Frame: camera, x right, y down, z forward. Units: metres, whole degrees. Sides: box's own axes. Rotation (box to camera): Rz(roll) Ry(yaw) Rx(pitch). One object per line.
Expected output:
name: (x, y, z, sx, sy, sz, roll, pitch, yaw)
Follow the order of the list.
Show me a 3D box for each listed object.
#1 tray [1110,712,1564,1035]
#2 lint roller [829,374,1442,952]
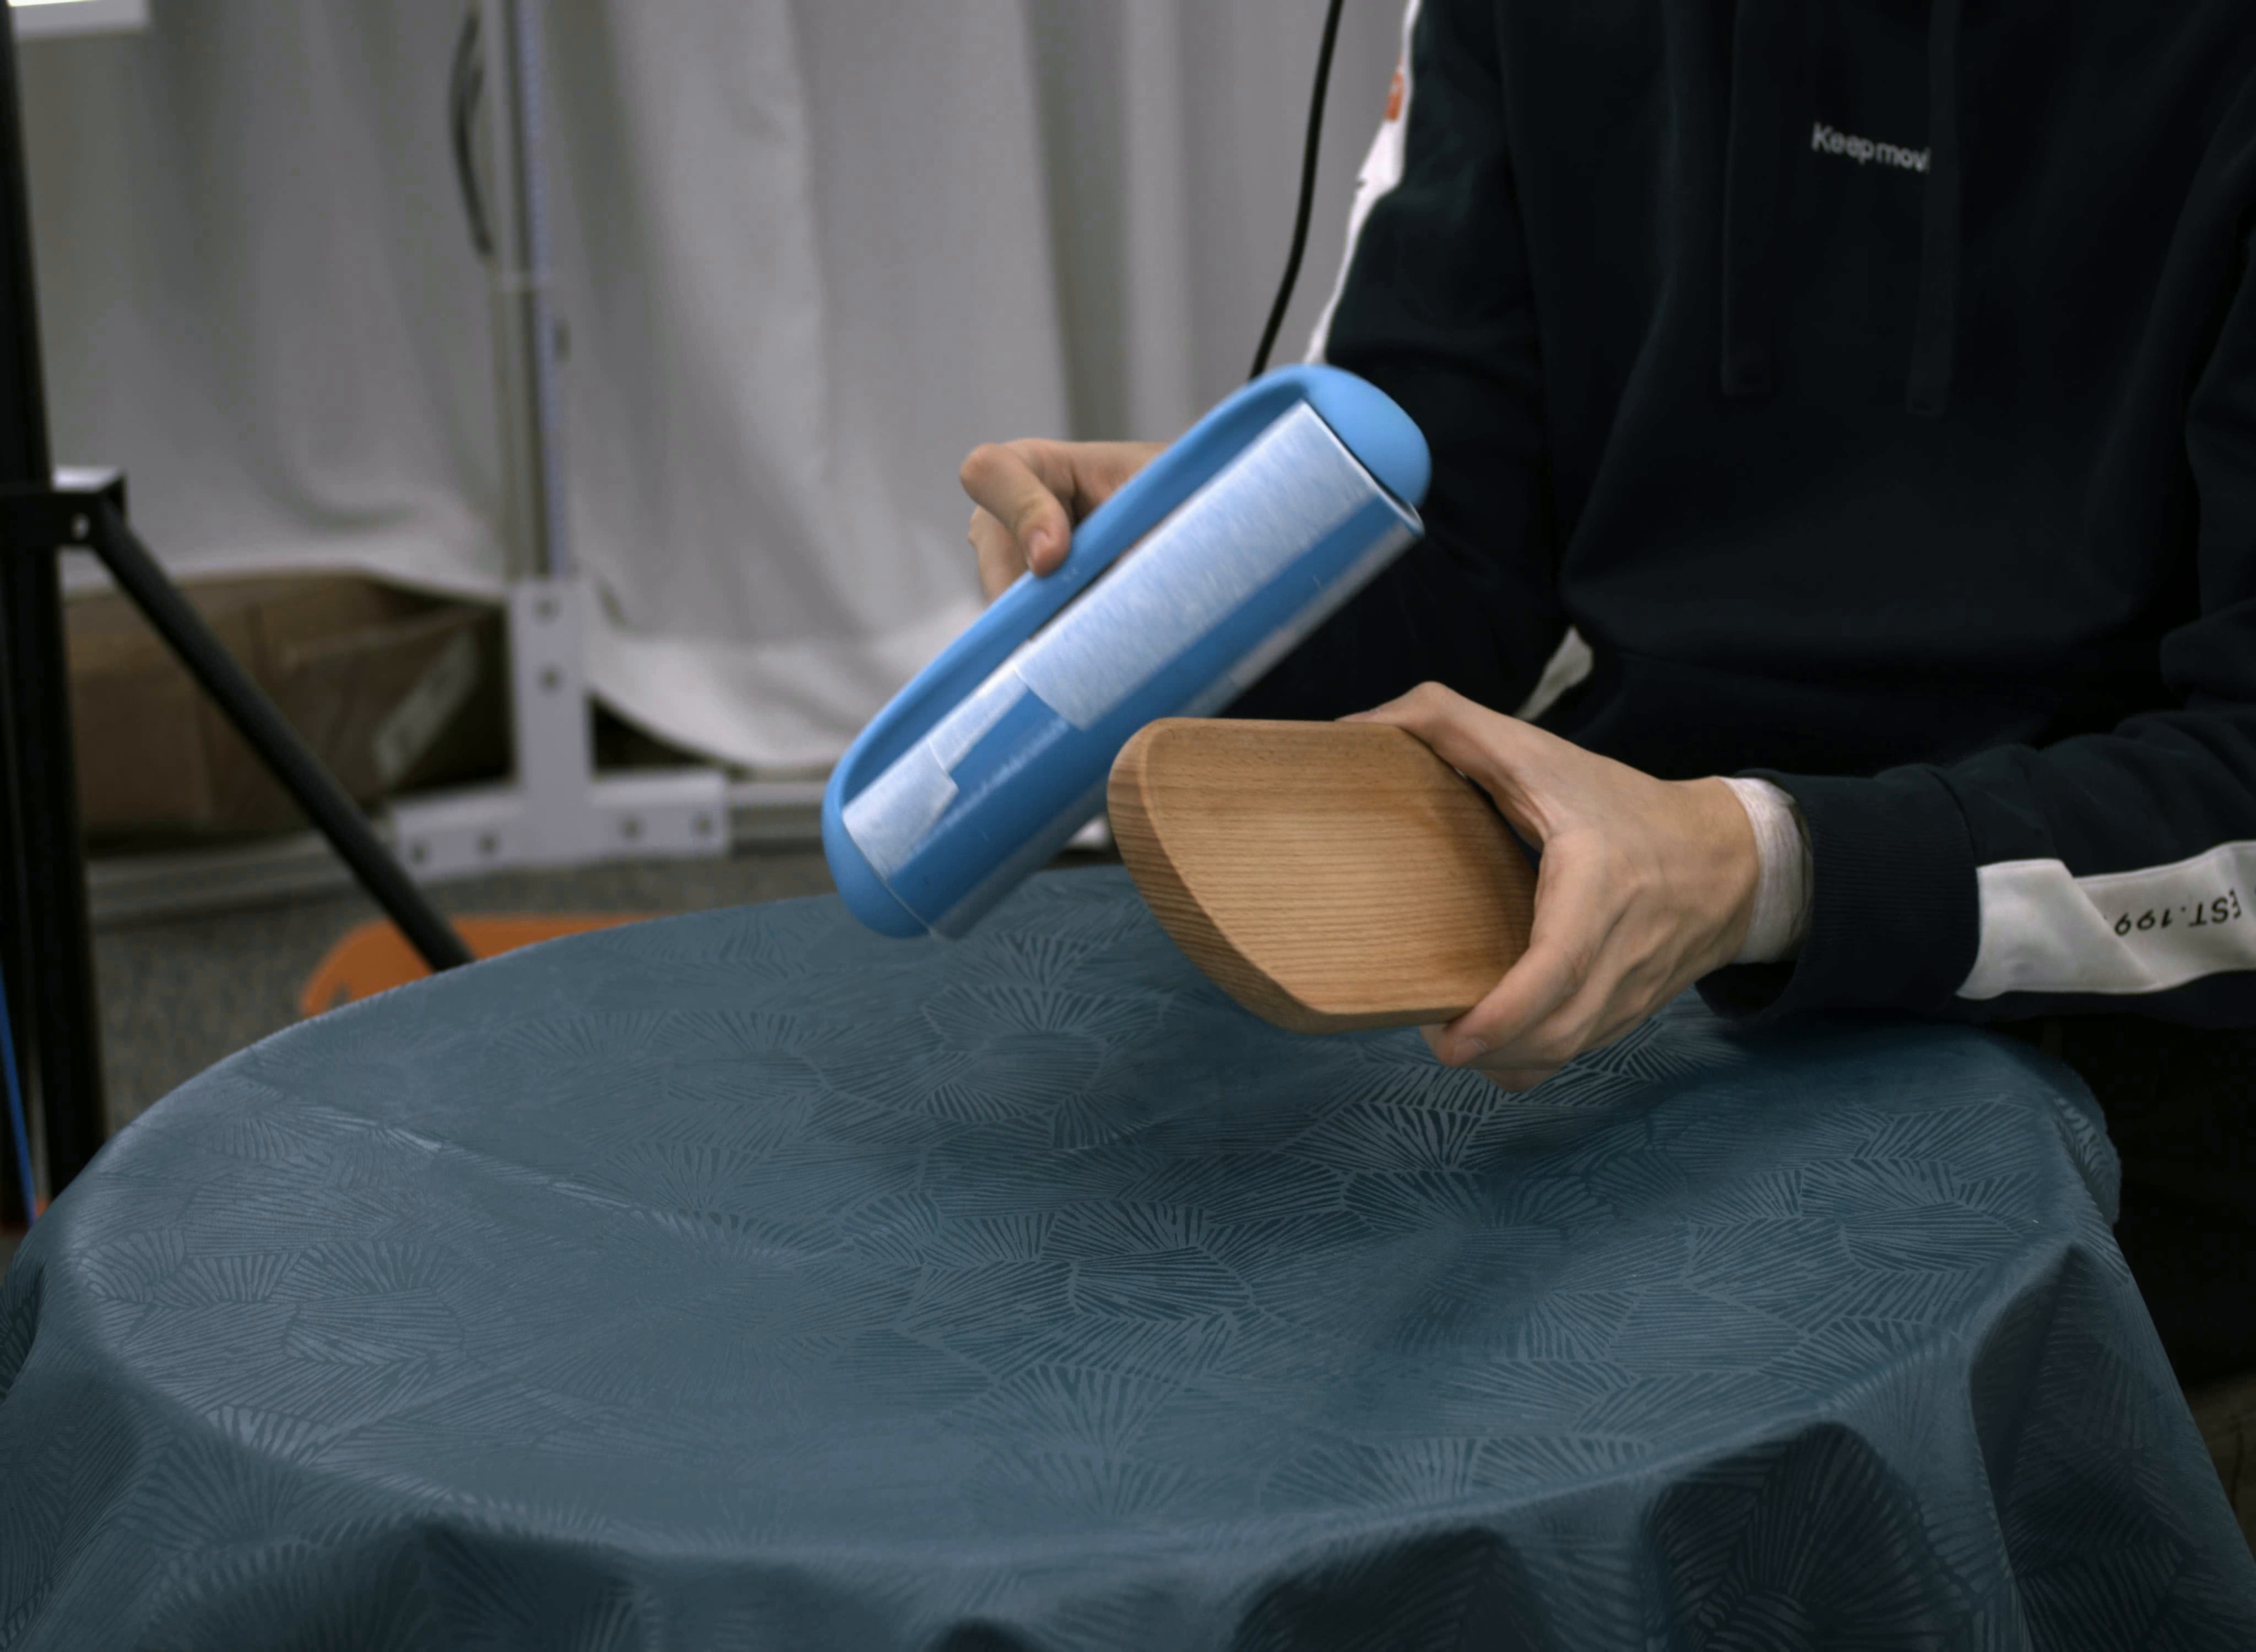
tray: (0.062, 0.013, 1.520, 0.020, 0.103, 0.226, -37, -16, 22)
lint roller: (-0.001, -0.060, 1.668, 0.229, 0.067, 0.181, -43, 13, 8)
